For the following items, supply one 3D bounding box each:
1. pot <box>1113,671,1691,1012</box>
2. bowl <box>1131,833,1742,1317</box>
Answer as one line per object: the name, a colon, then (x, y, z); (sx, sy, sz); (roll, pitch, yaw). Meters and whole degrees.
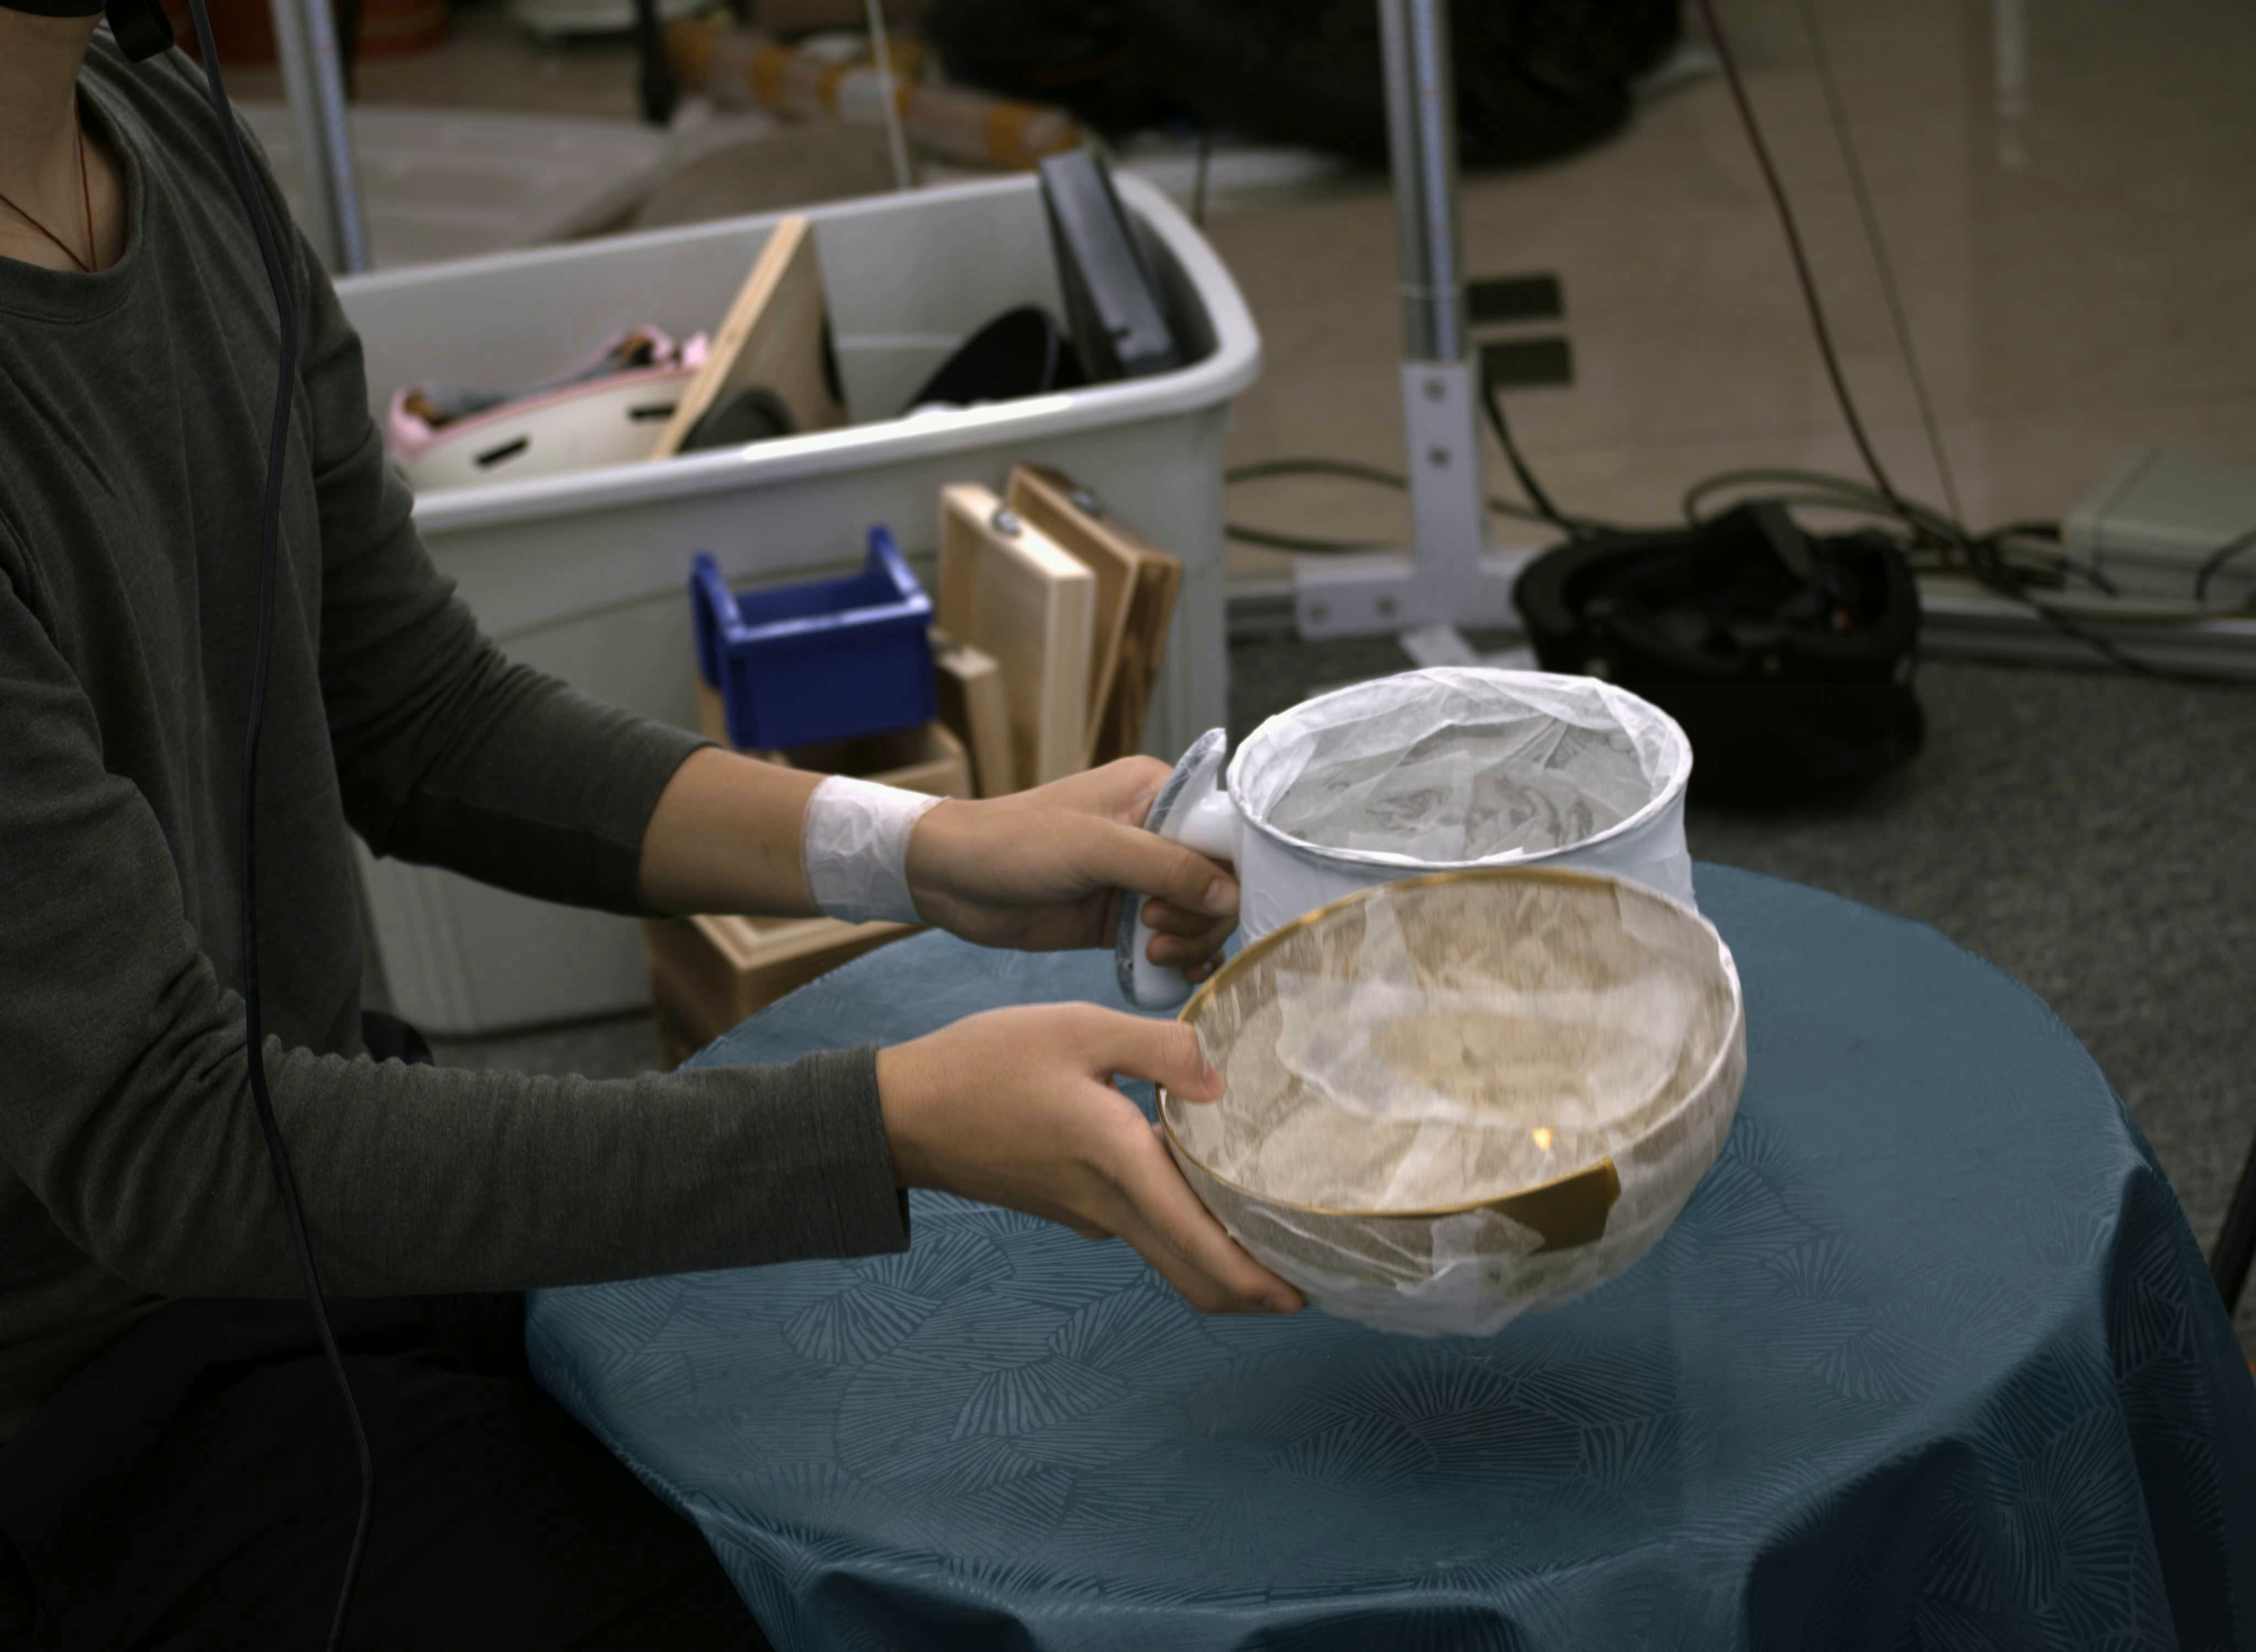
pot: (0.103, 0.032, 2.185); (0.233, 0.139, 0.176); (5, 27, 20)
bowl: (0.113, 0.101, 1.945); (0.214, 0.096, 0.211); (-12, 34, 8)
